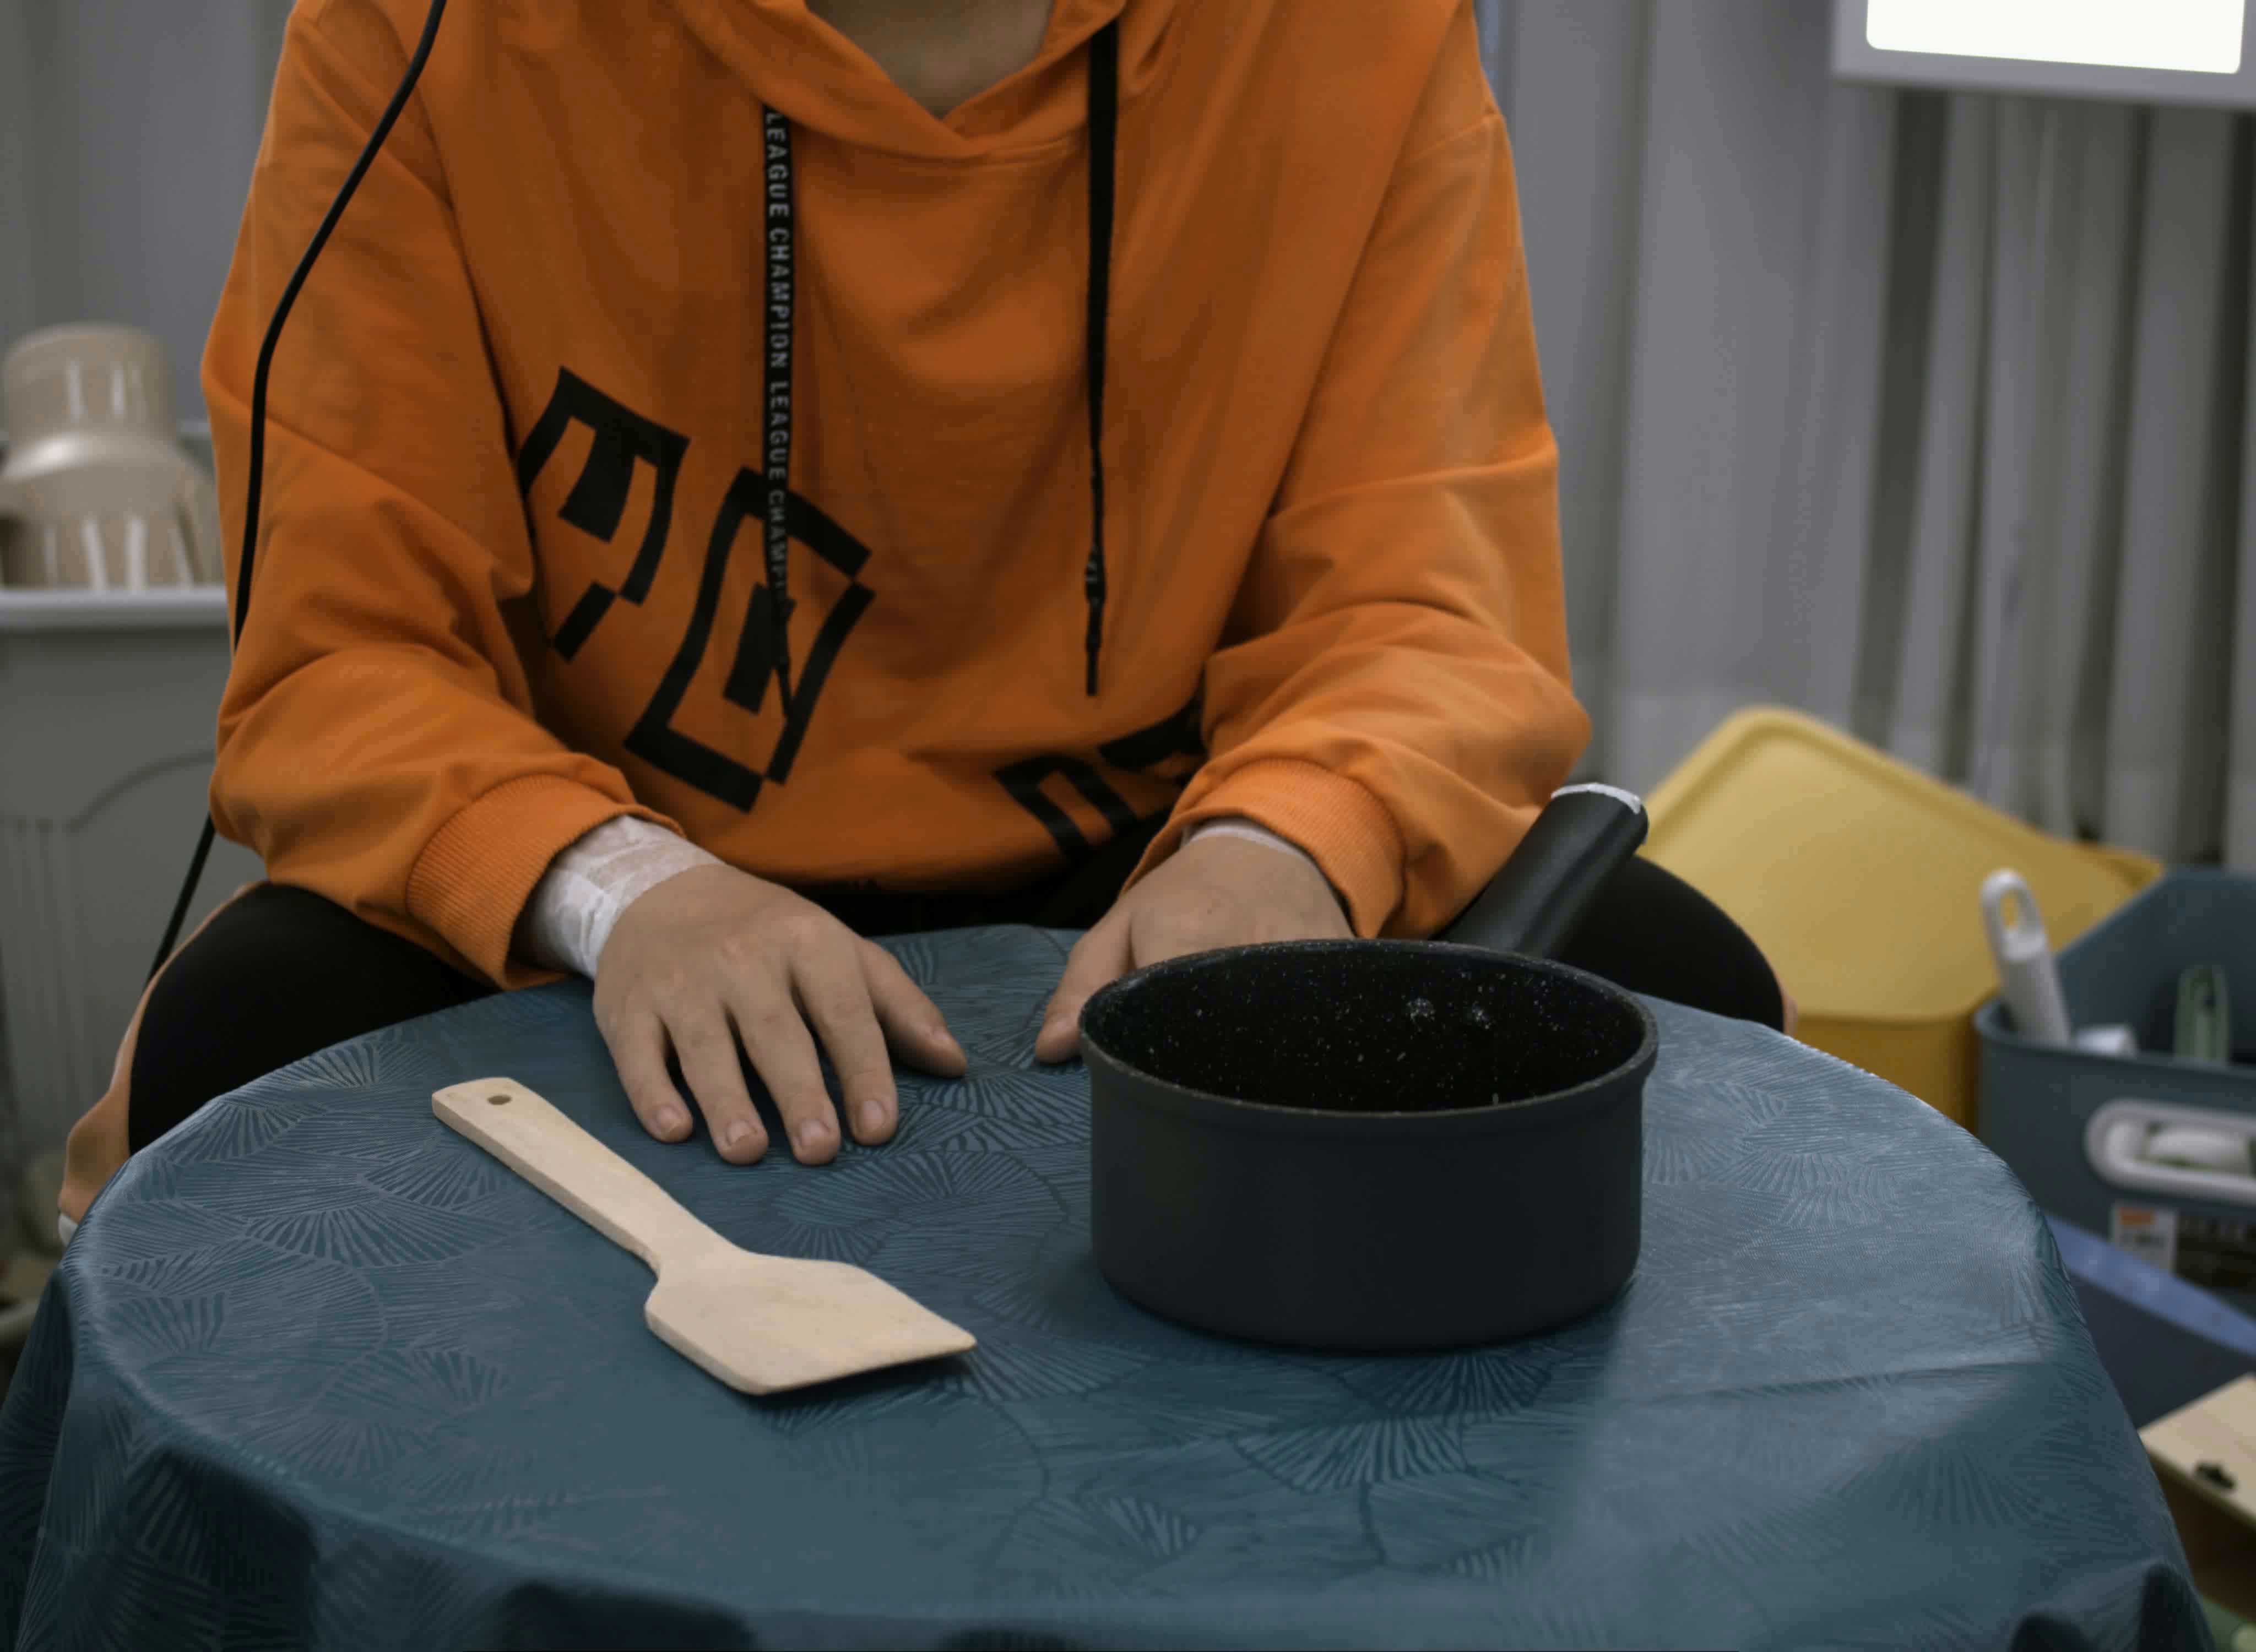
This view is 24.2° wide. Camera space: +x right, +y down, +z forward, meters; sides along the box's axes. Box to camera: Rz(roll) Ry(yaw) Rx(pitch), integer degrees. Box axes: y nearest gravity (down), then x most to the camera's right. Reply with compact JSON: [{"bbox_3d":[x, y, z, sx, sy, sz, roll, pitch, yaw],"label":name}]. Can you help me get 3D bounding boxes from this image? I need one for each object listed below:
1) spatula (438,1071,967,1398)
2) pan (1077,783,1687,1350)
[{"bbox_3d":[-0.144,0.118,1.579,0.072,0.011,0.289,-12,20,-27],"label":"spatula"},{"bbox_3d":[0.102,0.069,1.622,0.170,0.087,0.329,8,19,22],"label":"pan"}]
